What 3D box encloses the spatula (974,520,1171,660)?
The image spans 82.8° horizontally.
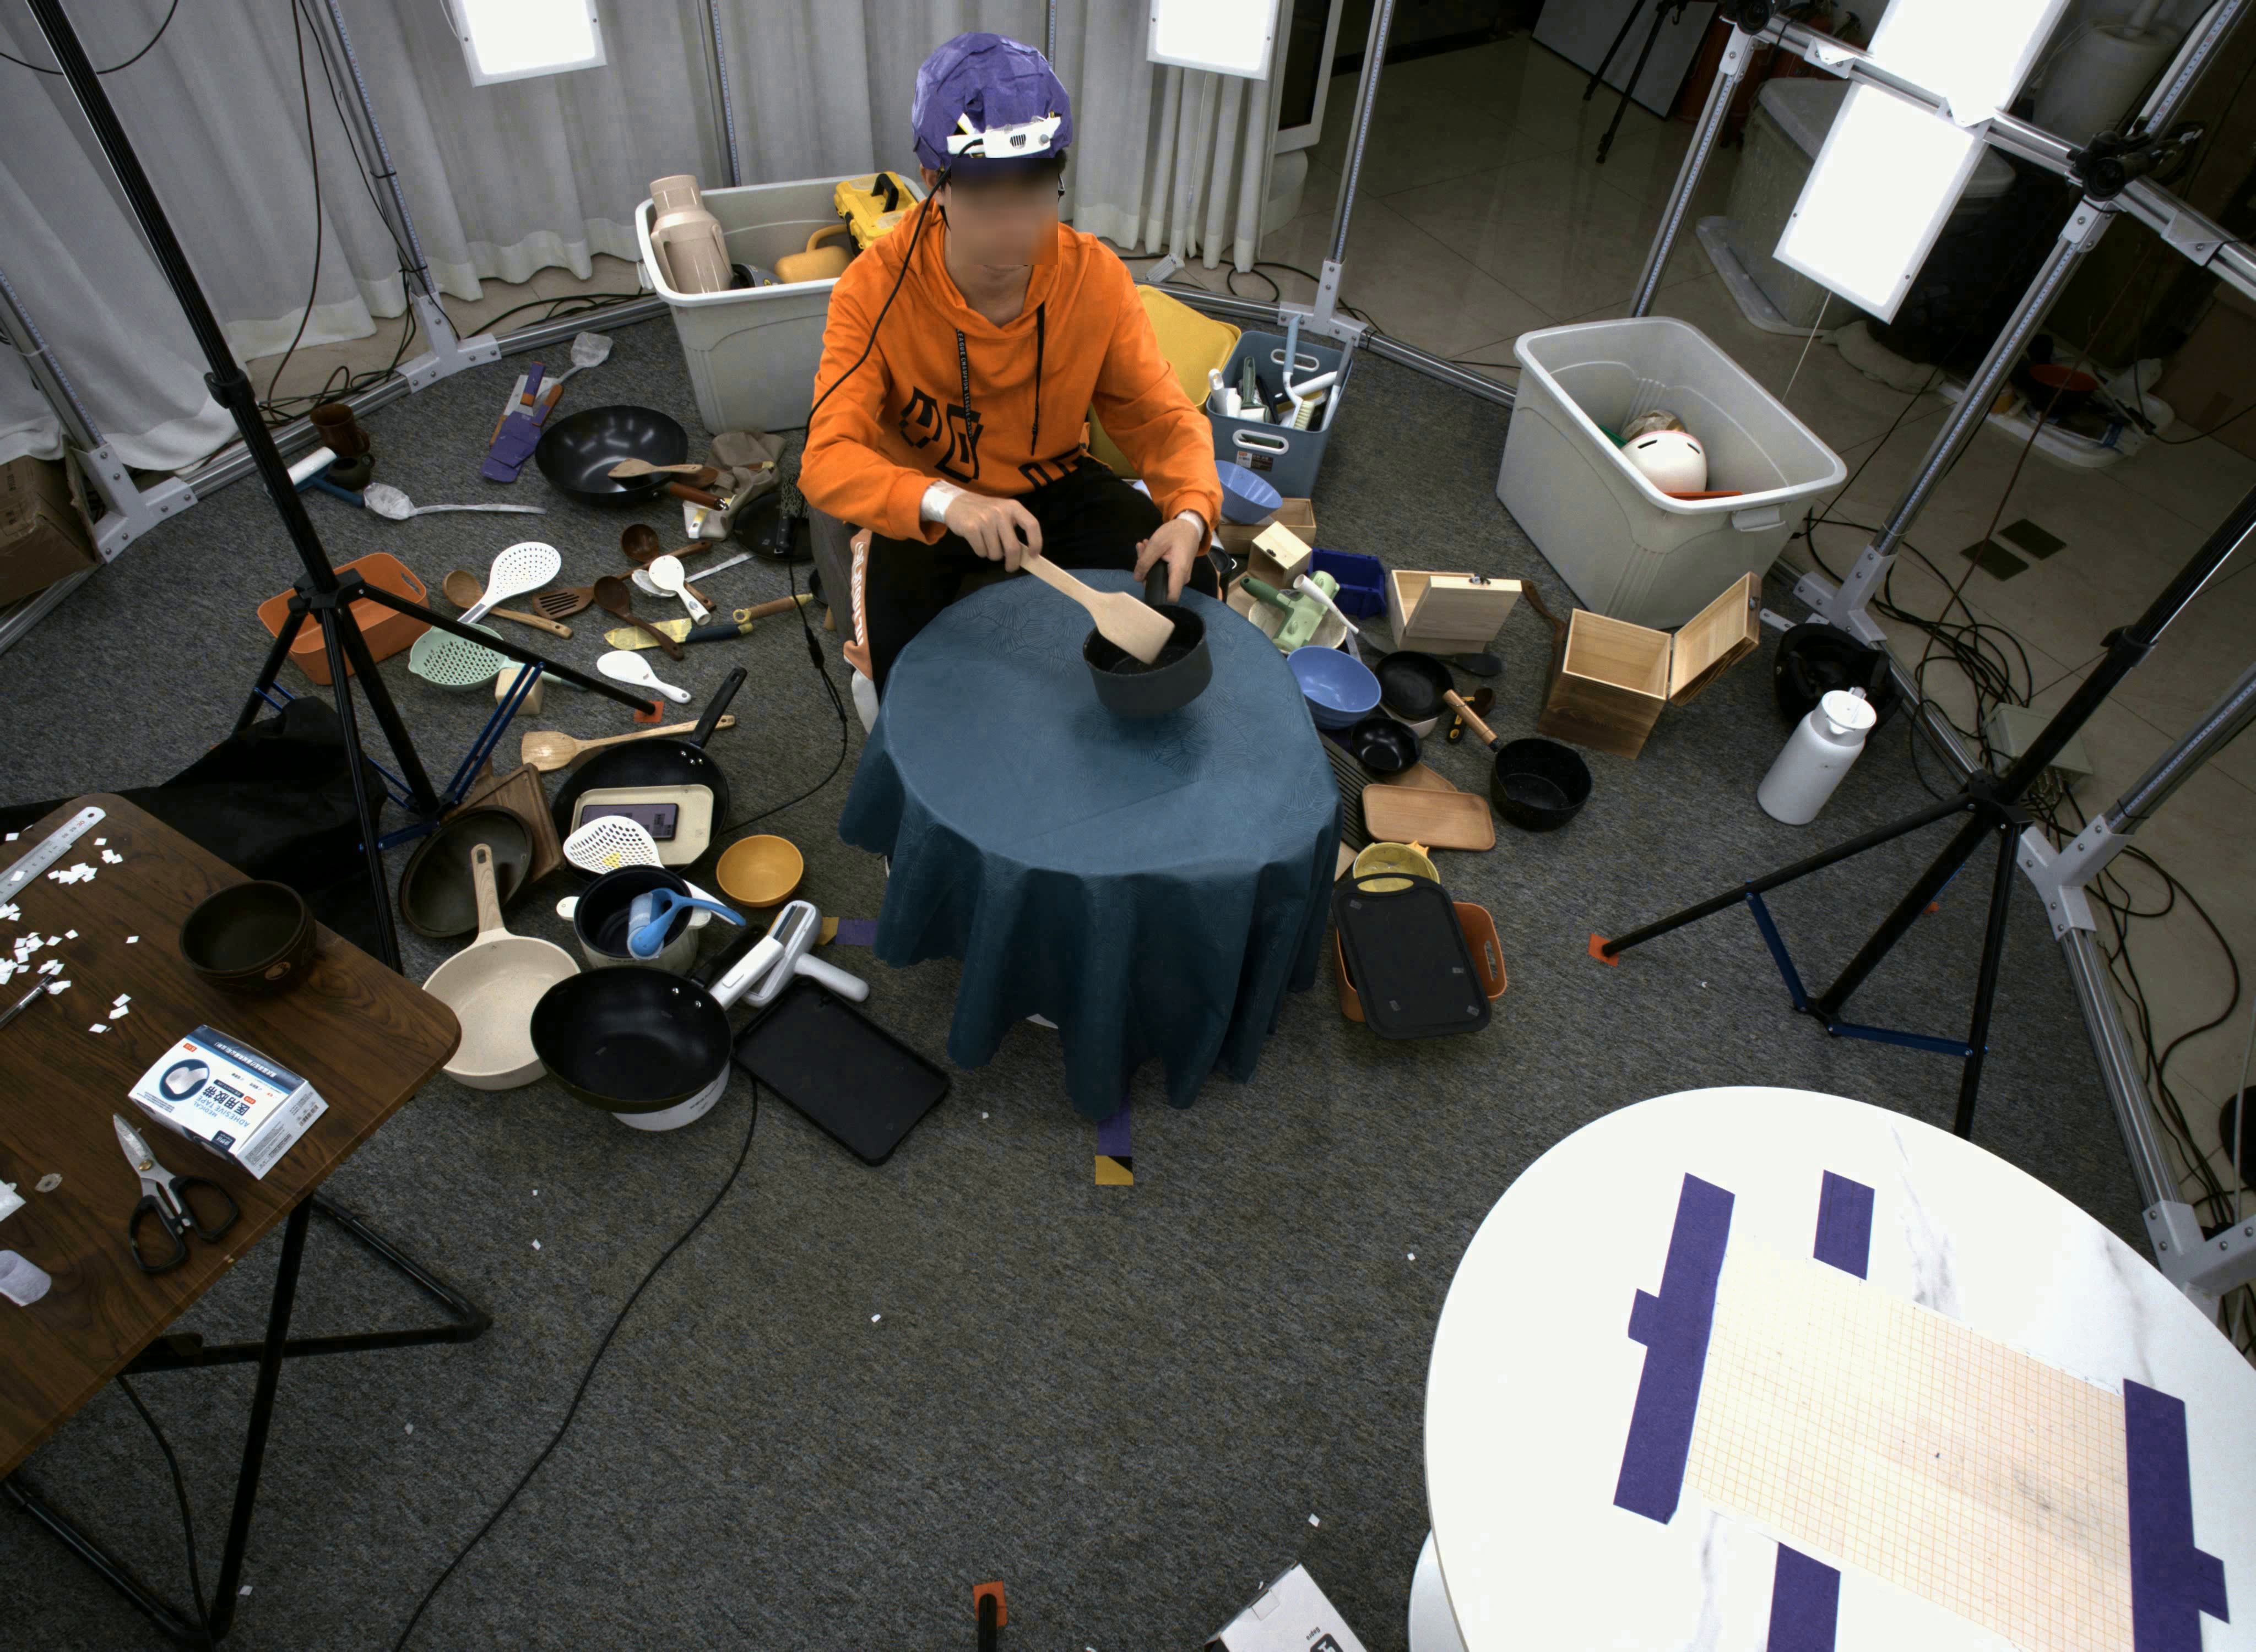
[{"bbox_3d":[-0.080,-0.325,1.727,0.293,0.071,0.011,32,29,1],"label":"spatula"}]

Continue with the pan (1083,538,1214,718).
[{"bbox_3d":[0.041,-0.282,1.806,0.172,0.084,0.336,-3,42,15],"label":"pan"}]
